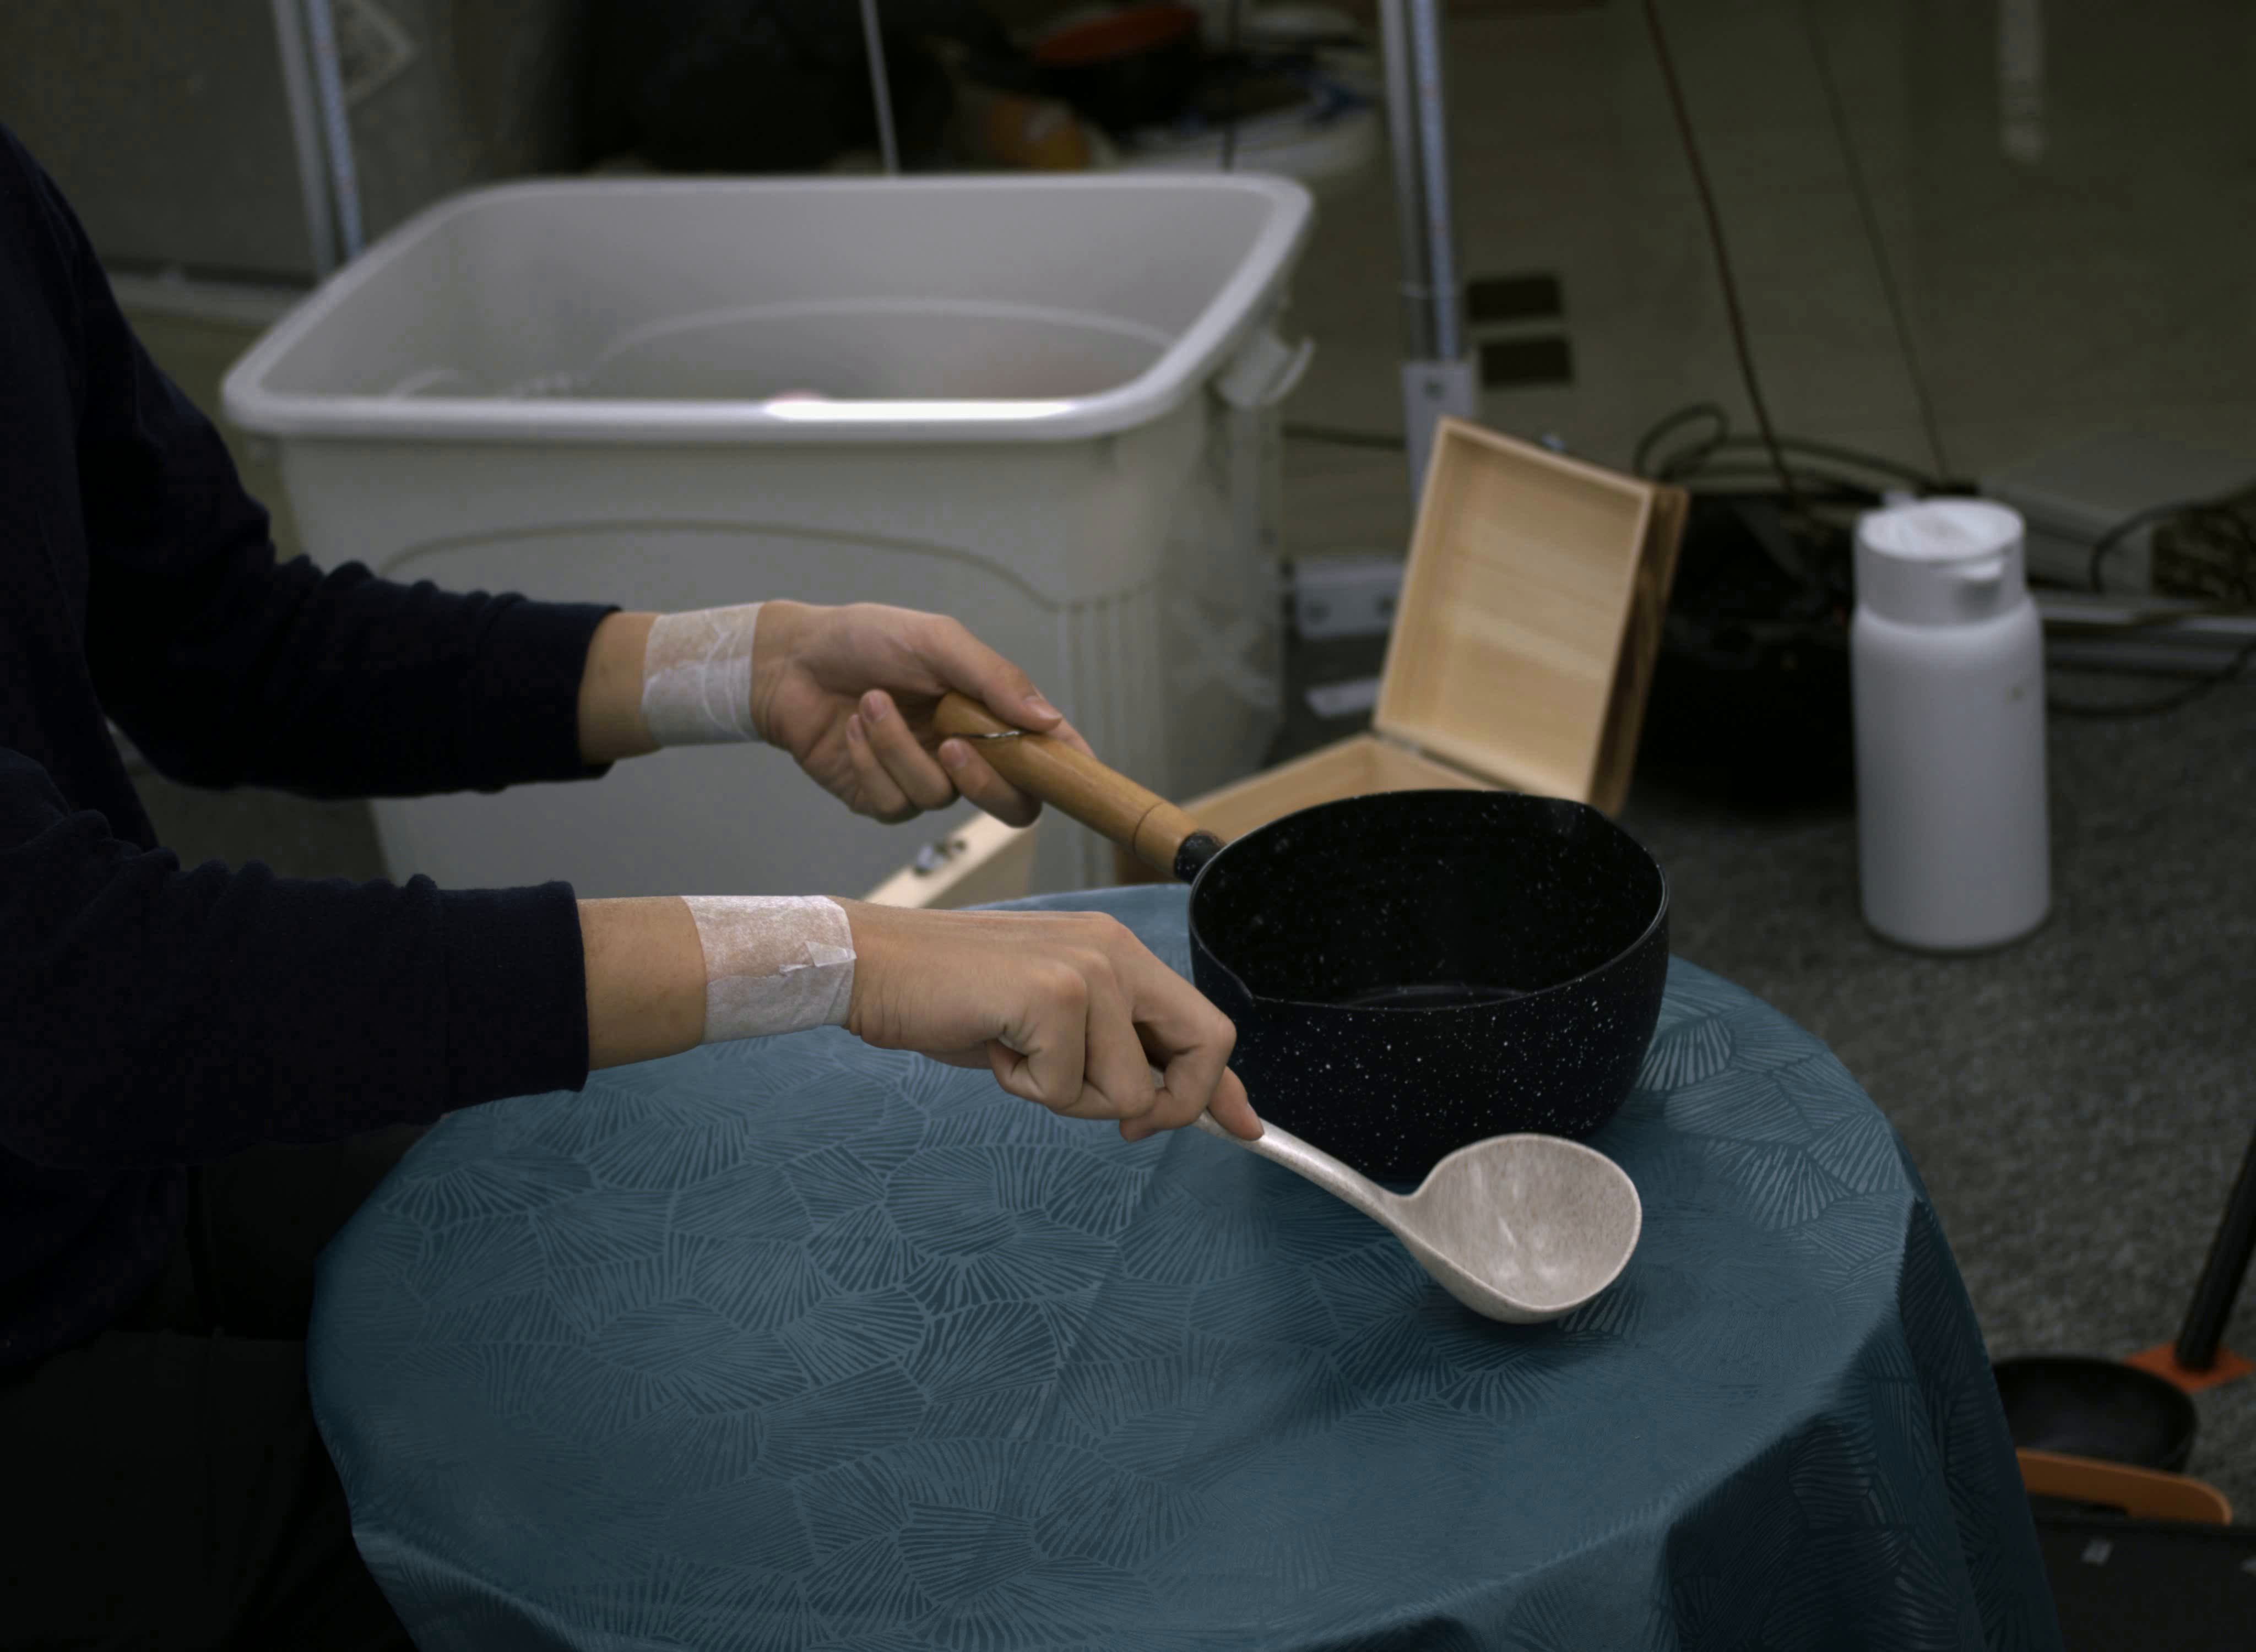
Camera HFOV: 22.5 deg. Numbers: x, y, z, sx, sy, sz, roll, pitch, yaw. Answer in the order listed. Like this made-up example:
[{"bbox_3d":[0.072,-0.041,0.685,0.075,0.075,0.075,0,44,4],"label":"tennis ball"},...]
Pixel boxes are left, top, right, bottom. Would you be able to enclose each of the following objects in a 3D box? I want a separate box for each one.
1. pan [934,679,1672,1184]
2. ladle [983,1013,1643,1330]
[{"bbox_3d":[0.055,0.034,2.215,0.340,0.110,0.205,19,36,36],"label":"pan"},{"bbox_3d":[0.068,0.101,1.961,0.070,0.277,0.088,-44,40,19],"label":"ladle"}]
